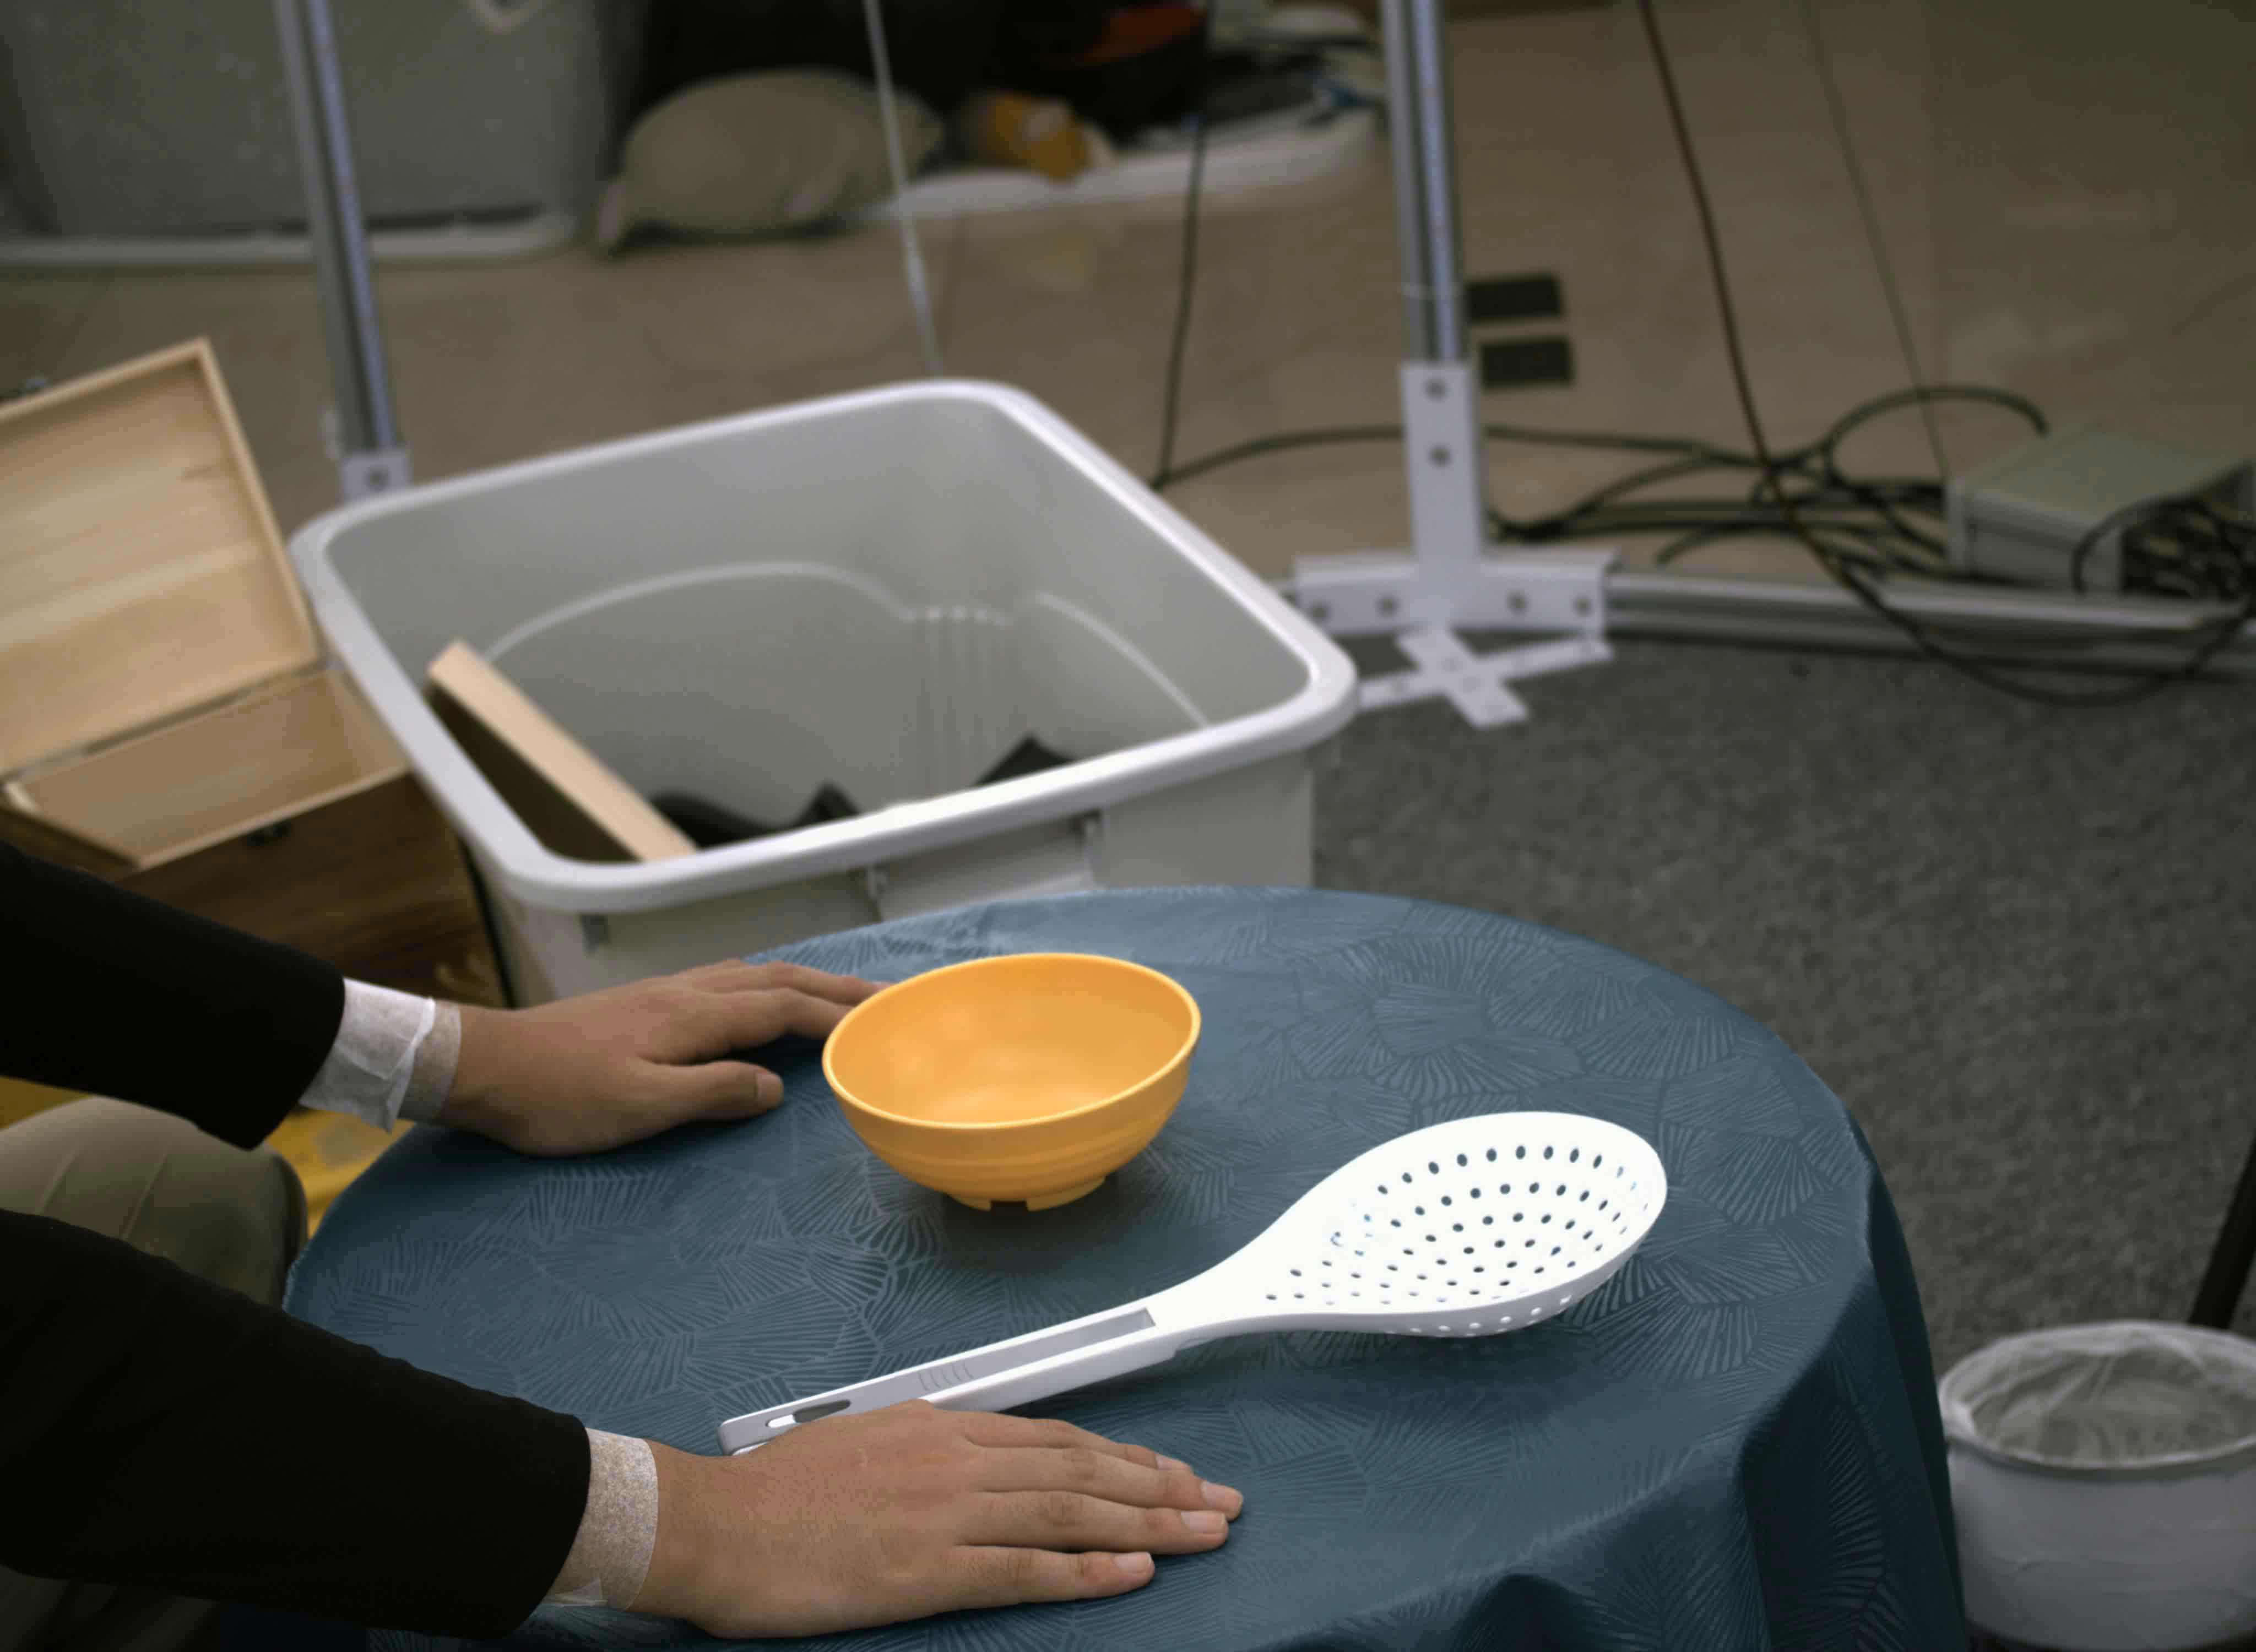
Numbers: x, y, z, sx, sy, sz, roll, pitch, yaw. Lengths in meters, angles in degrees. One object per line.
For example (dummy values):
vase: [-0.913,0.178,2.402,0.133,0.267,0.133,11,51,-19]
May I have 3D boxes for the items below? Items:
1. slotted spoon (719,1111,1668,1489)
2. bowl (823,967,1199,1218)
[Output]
slotted spoon: [0.025,0.173,2.013,0.349,0.046,0.134,-12,25,-10]
bowl: [-0.042,0.108,2.157,0.145,0.061,0.143,-5,23,2]
